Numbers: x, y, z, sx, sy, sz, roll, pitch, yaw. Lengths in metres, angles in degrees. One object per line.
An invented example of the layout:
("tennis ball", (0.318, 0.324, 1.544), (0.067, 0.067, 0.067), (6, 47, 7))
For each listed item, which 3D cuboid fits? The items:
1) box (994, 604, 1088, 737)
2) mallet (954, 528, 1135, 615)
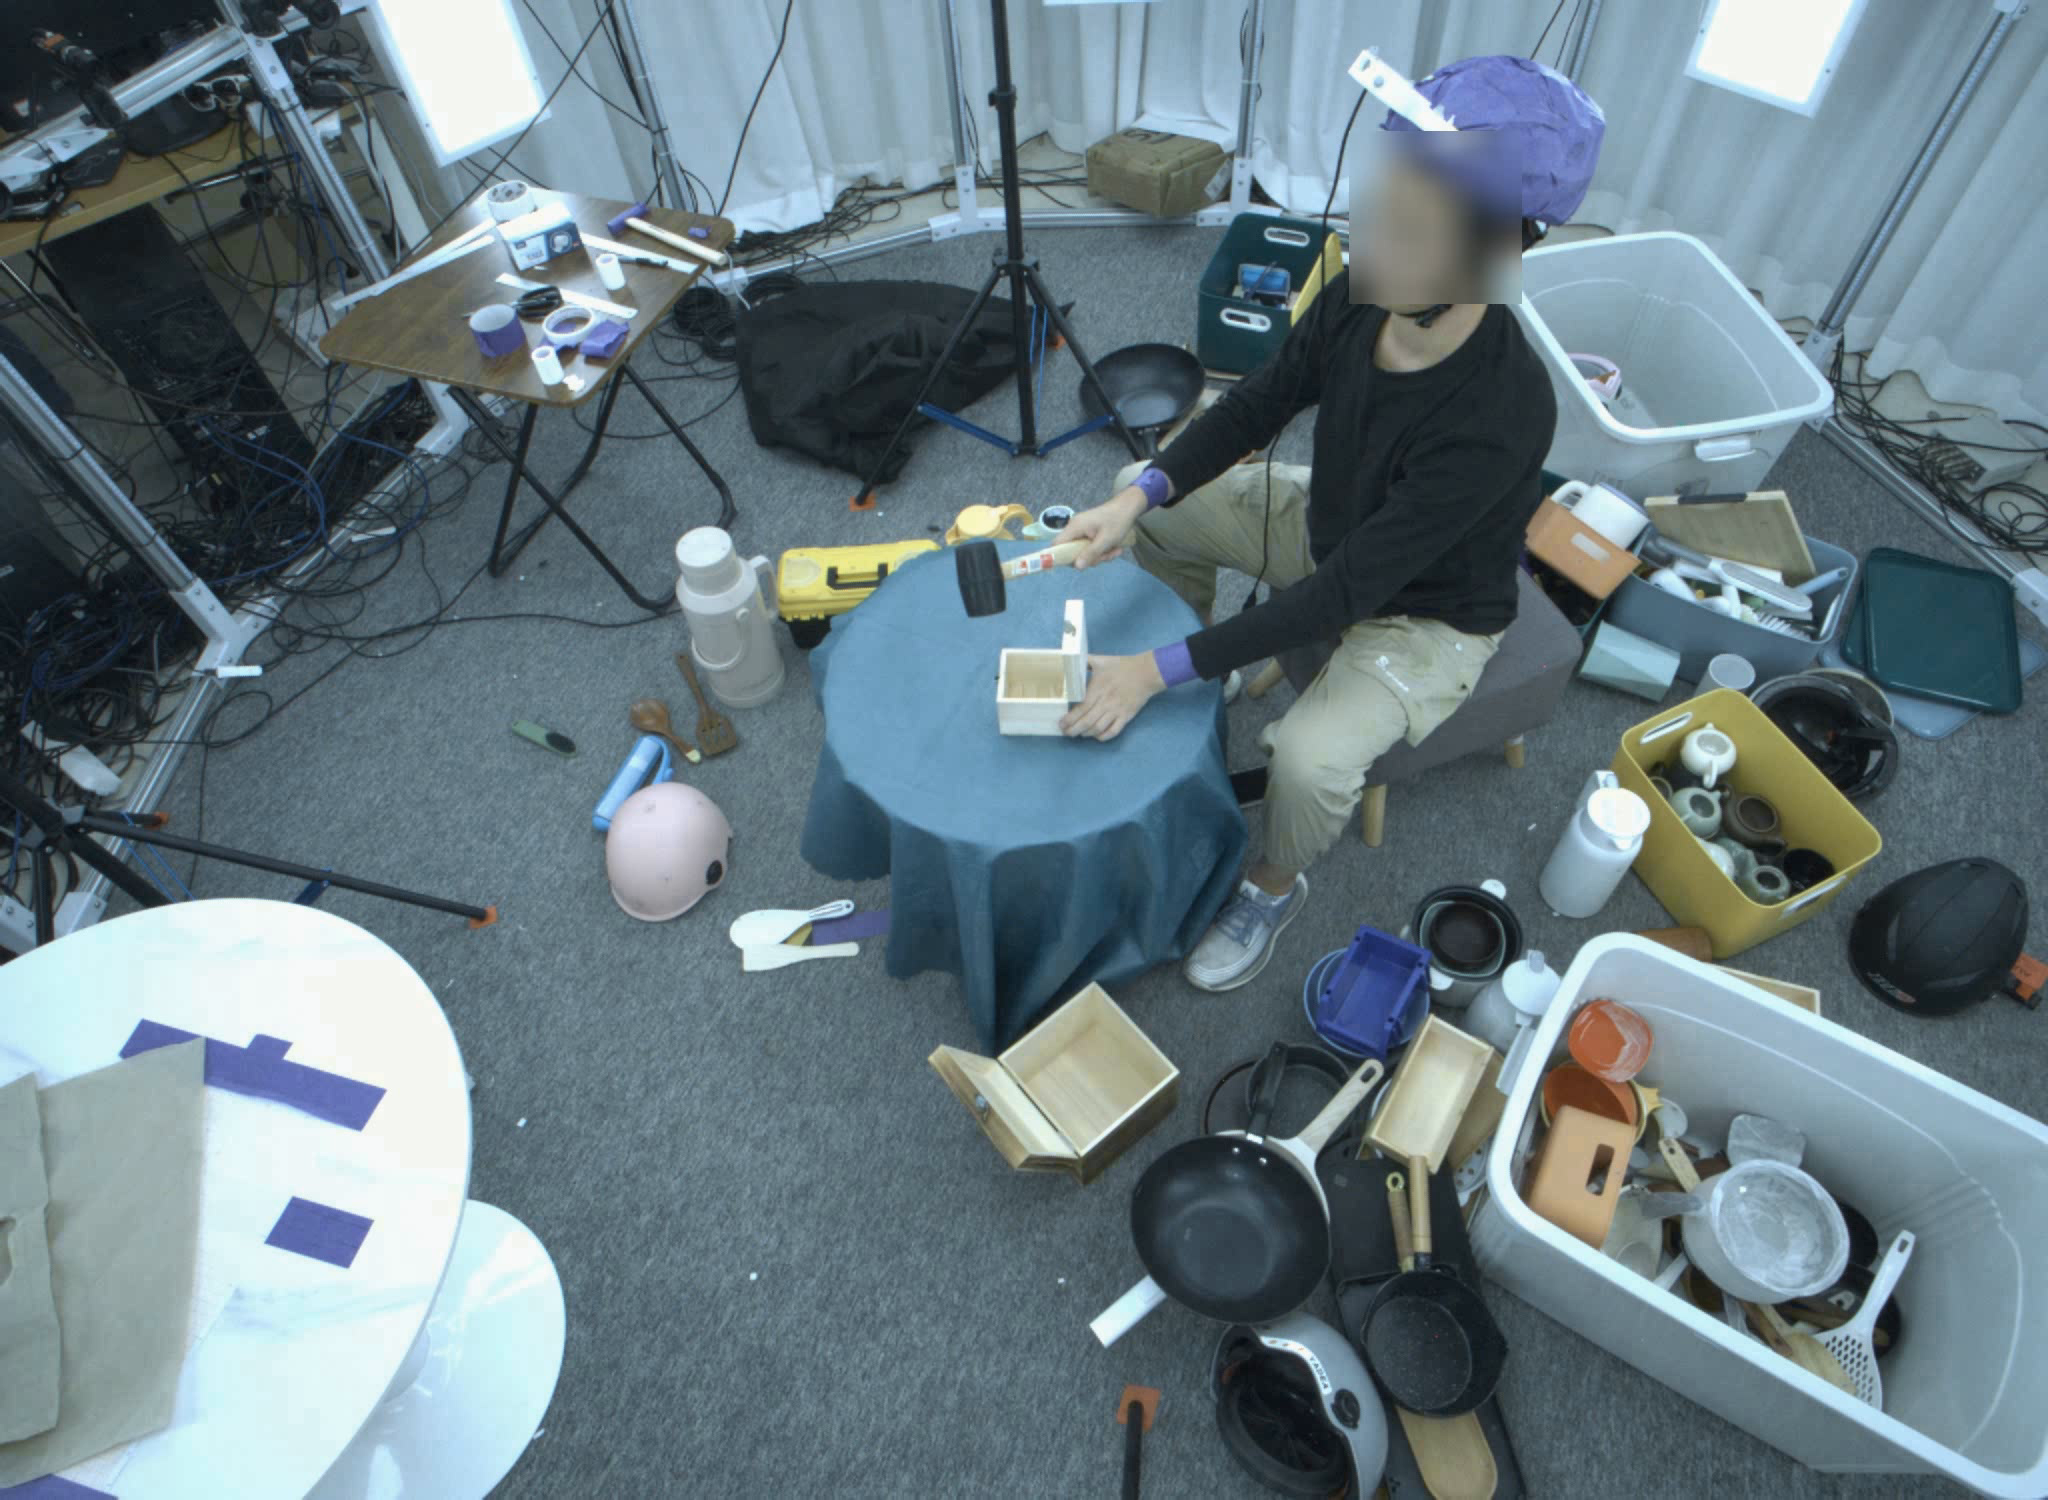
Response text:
("box", (0.024, -0.115, 1.753), (0.134, 0.186, 0.101), (2, 55, 1))
("mallet", (0.042, -0.277, 1.770), (0.344, 0.102, 0.063), (-20, 23, -37))
